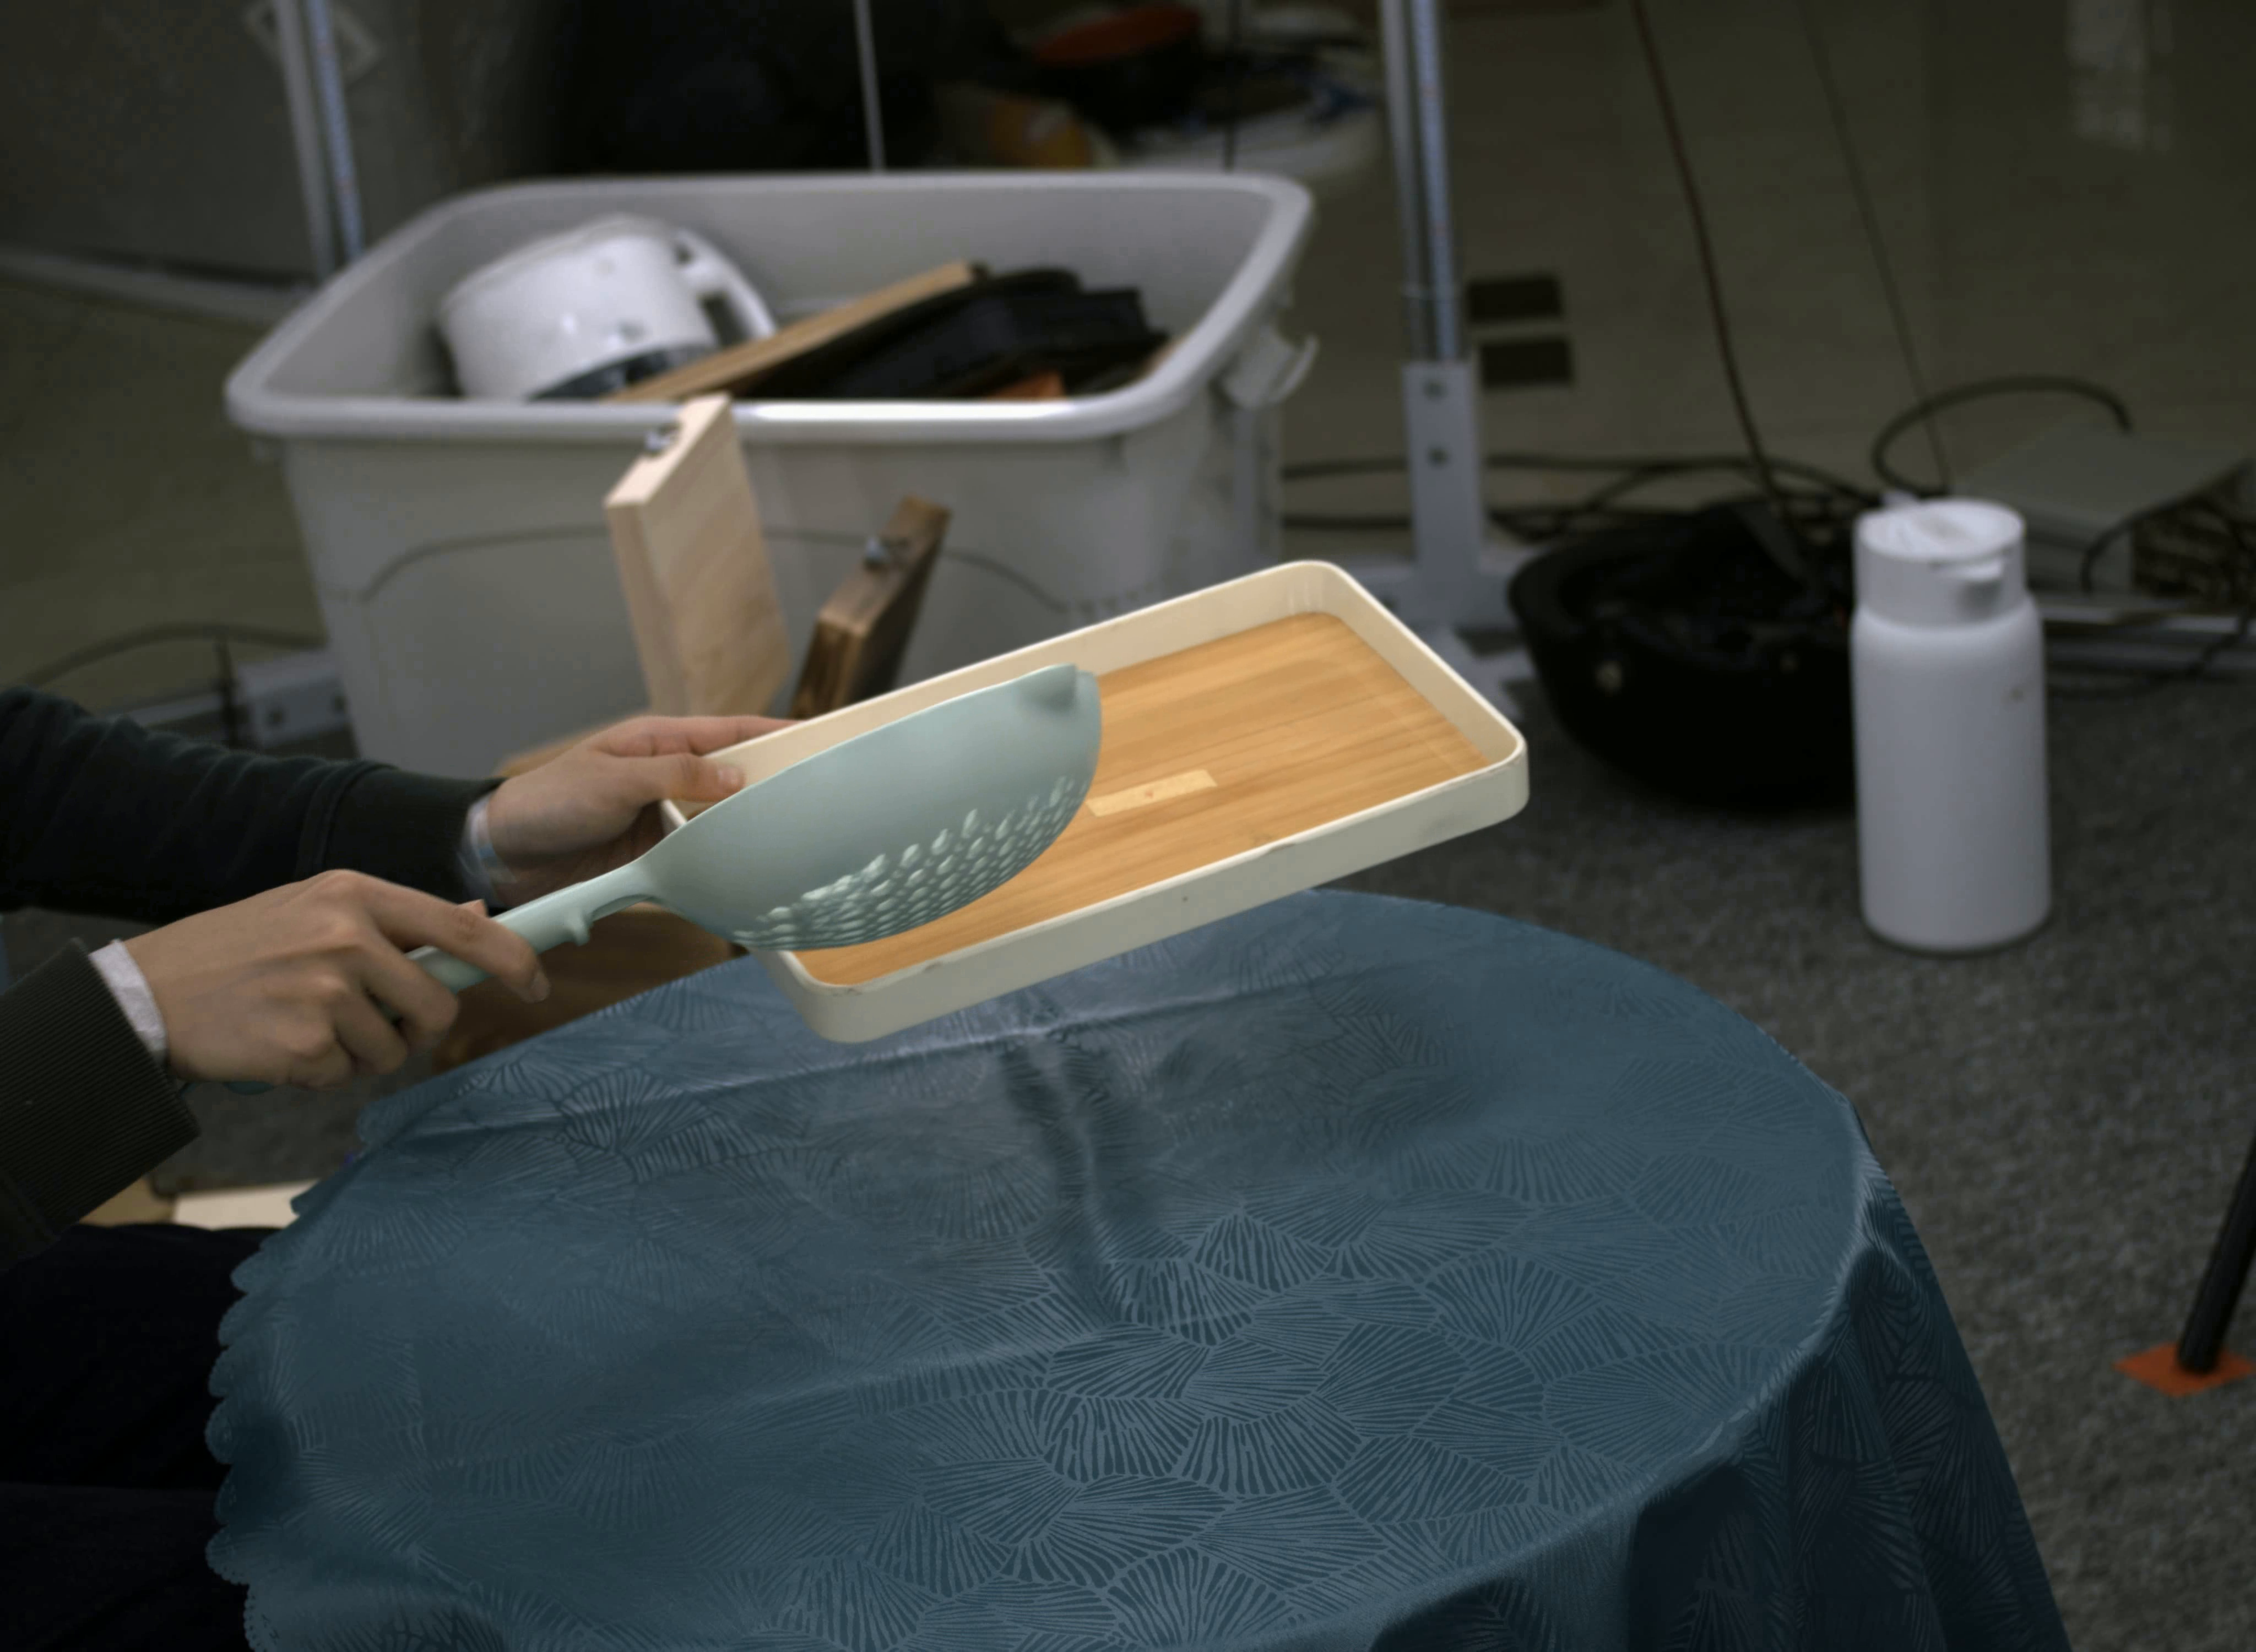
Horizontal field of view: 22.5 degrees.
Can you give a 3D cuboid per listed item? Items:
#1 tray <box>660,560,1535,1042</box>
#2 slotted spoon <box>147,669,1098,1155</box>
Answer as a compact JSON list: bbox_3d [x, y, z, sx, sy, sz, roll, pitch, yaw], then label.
[{"bbox_3d":[-0.013,-0.013,2.183,0.299,0.028,0.189,-19,35,-17],"label":"tray"},{"bbox_3d":[-0.175,0.031,1.971,0.358,0.075,0.170,-15,-8,-7],"label":"slotted spoon"}]
